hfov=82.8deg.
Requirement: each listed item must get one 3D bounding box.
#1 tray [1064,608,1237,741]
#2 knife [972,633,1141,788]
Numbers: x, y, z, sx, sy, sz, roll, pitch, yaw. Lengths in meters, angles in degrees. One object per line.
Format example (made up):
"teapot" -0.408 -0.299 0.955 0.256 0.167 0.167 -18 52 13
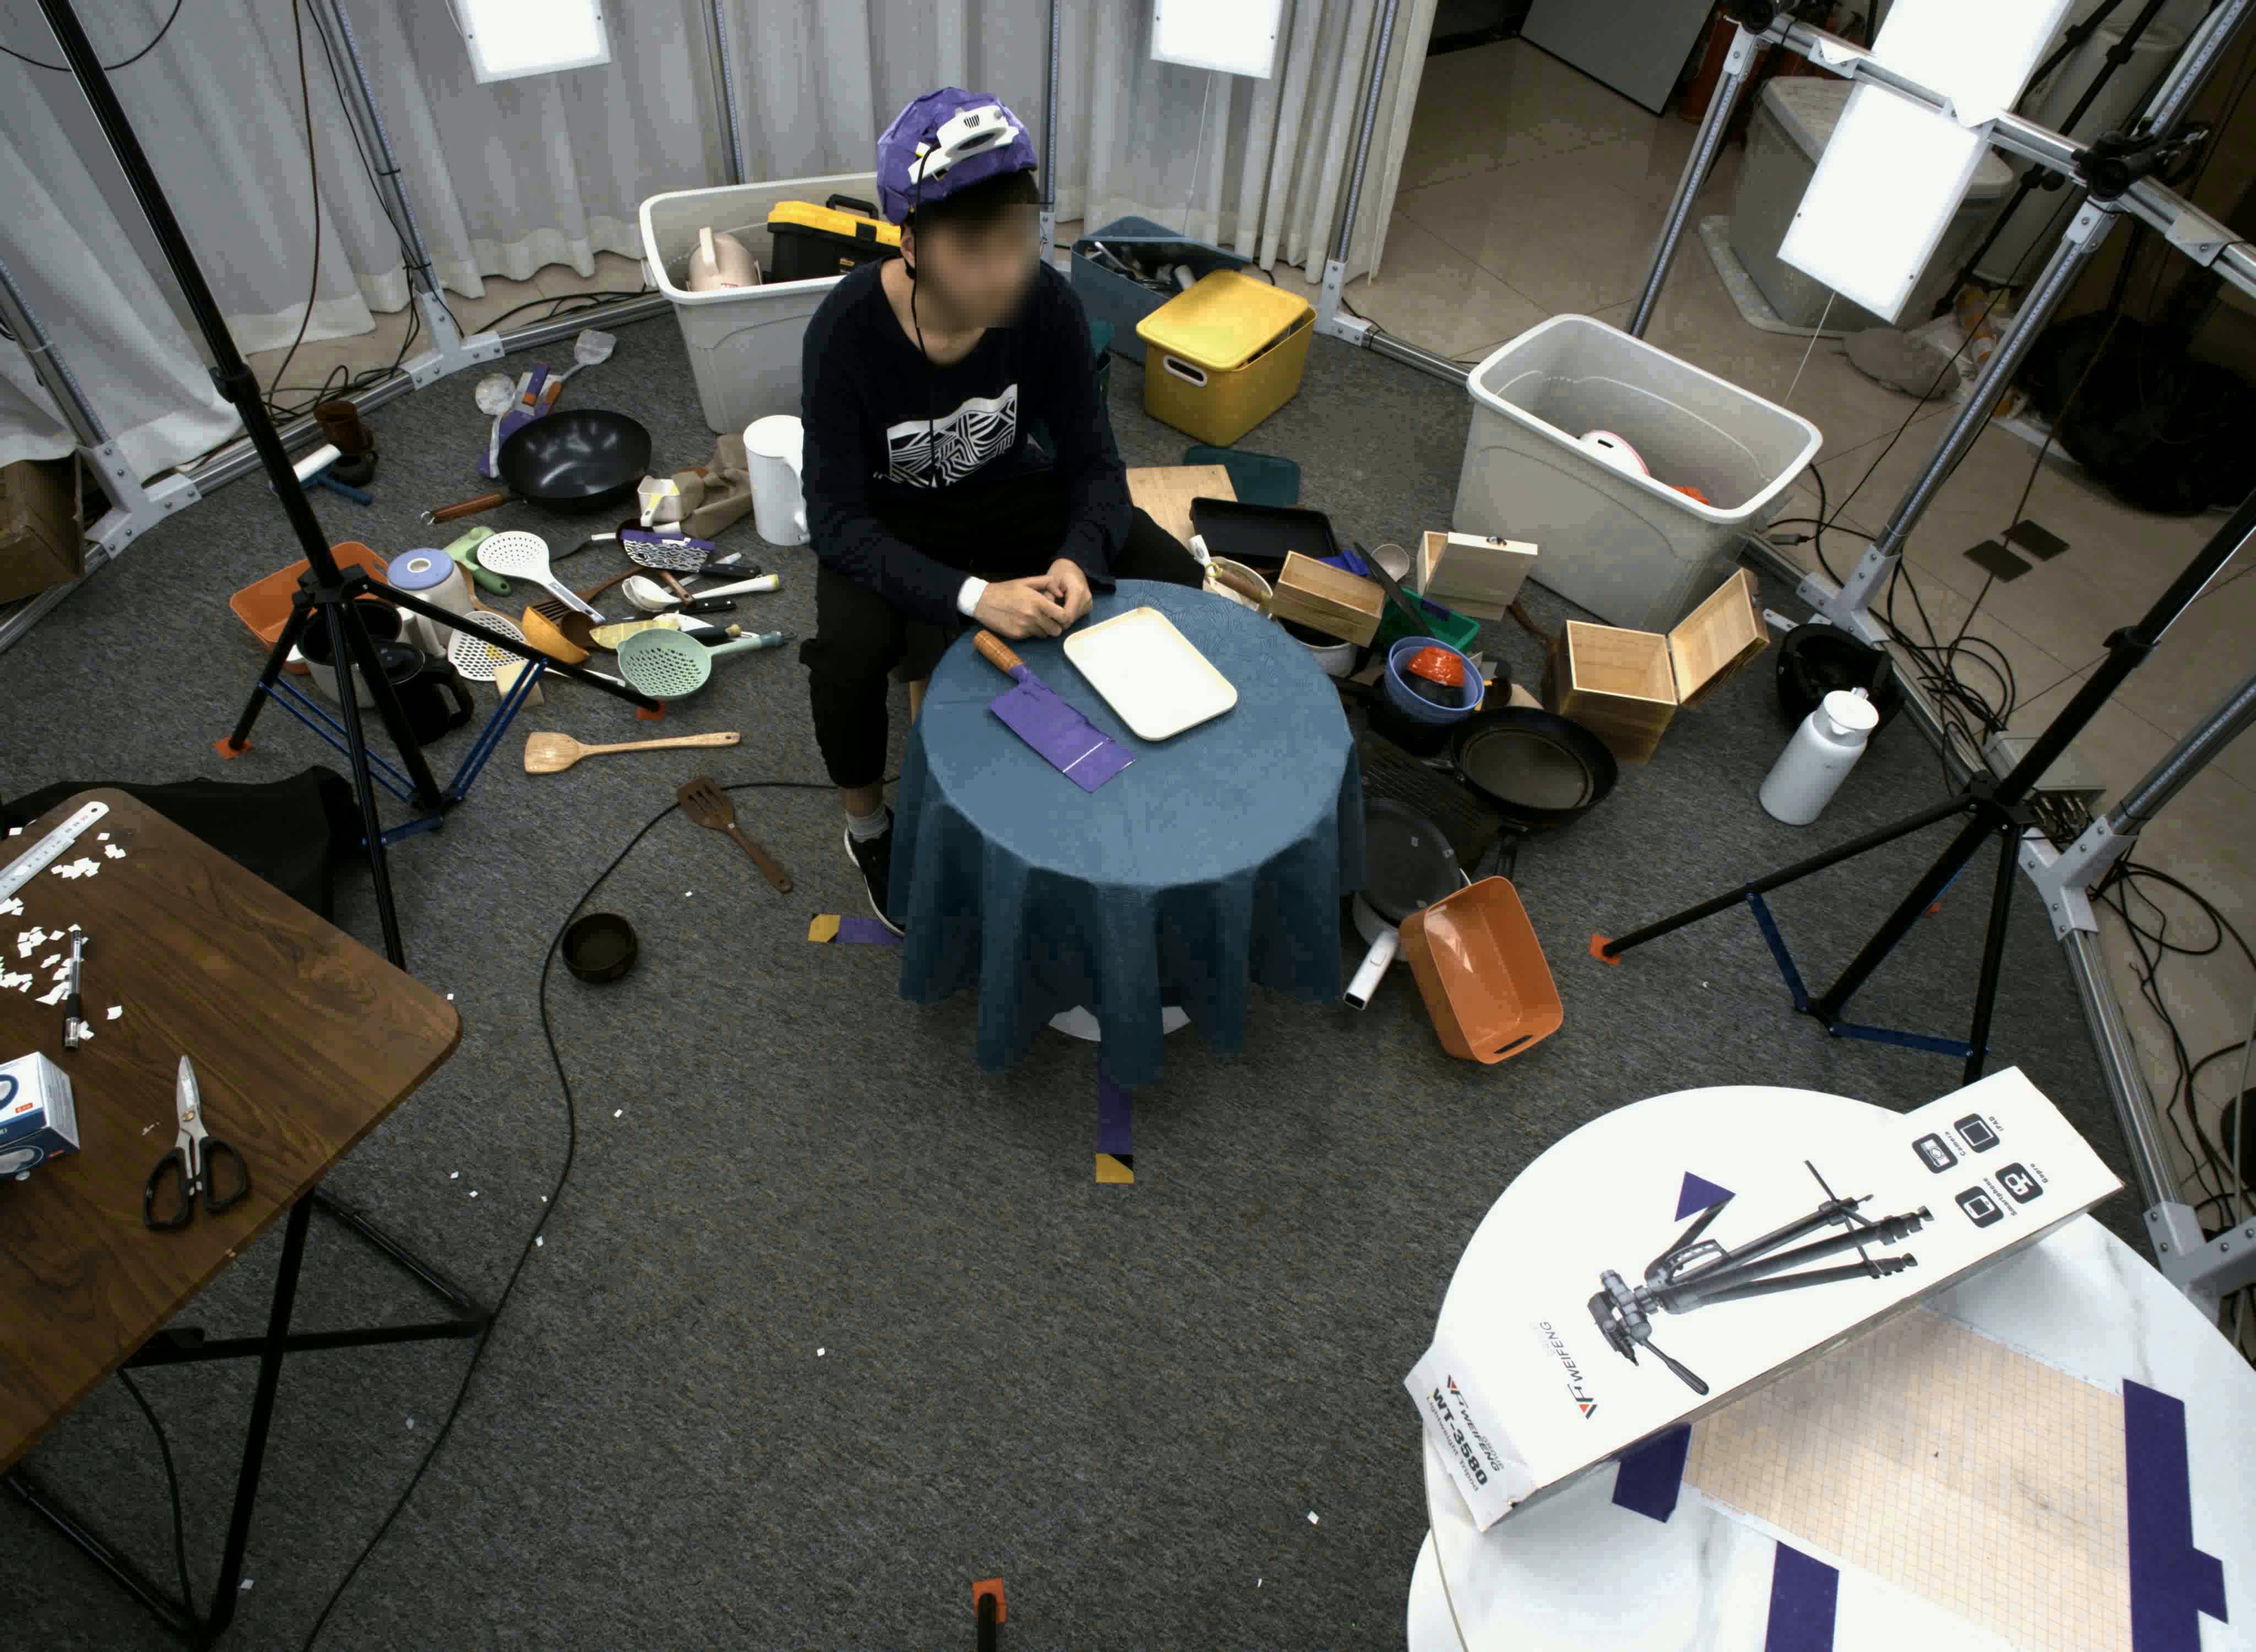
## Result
"tray" 0.031 -0.220 1.849 0.172 0.017 0.244 -25 55 -22
"knife" -0.126 -0.164 1.783 0.105 0.031 0.320 -35 60 -30
